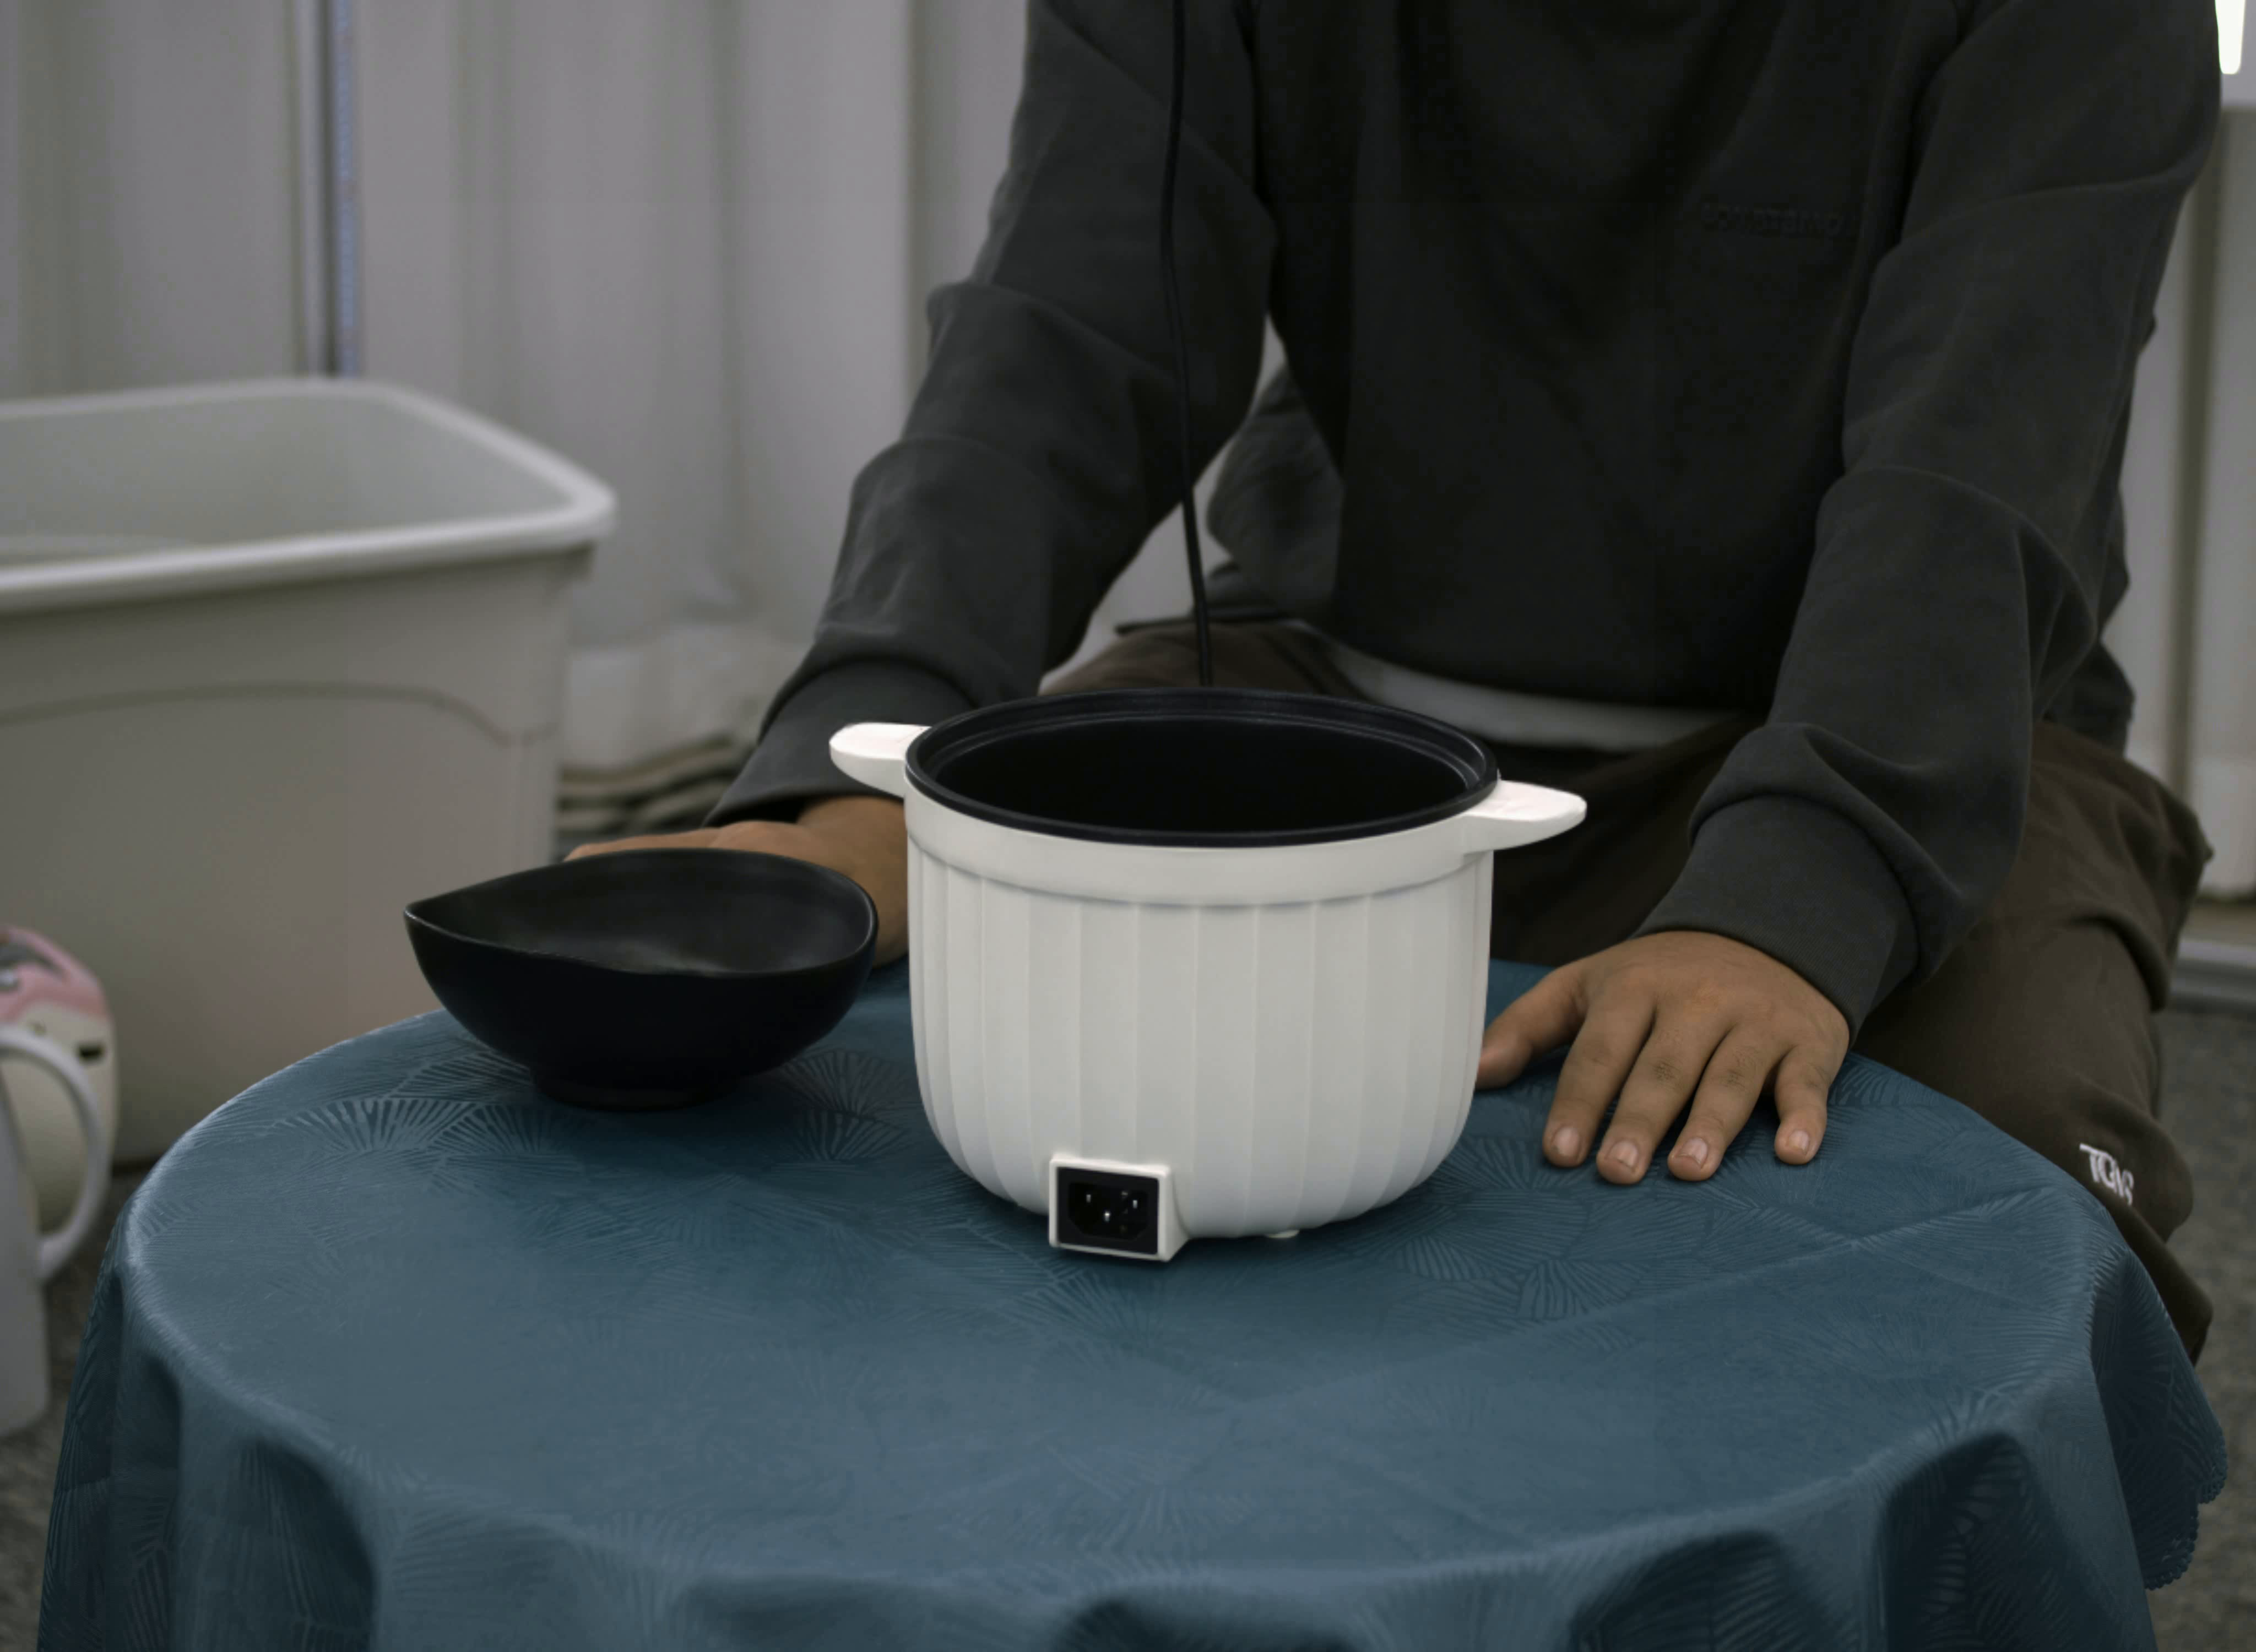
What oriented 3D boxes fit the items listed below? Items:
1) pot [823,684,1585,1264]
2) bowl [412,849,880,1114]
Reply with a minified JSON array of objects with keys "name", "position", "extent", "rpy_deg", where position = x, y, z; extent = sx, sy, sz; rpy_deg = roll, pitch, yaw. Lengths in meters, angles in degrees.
[{"name":"pot","position":[0.022,0.042,1.624],"extent":[0.238,0.144,0.190],"rpy_deg":[6,20,16]},{"name":"bowl","position":[-0.158,0.054,1.711],"extent":[0.168,0.067,0.138],"rpy_deg":[10,18,36]}]
